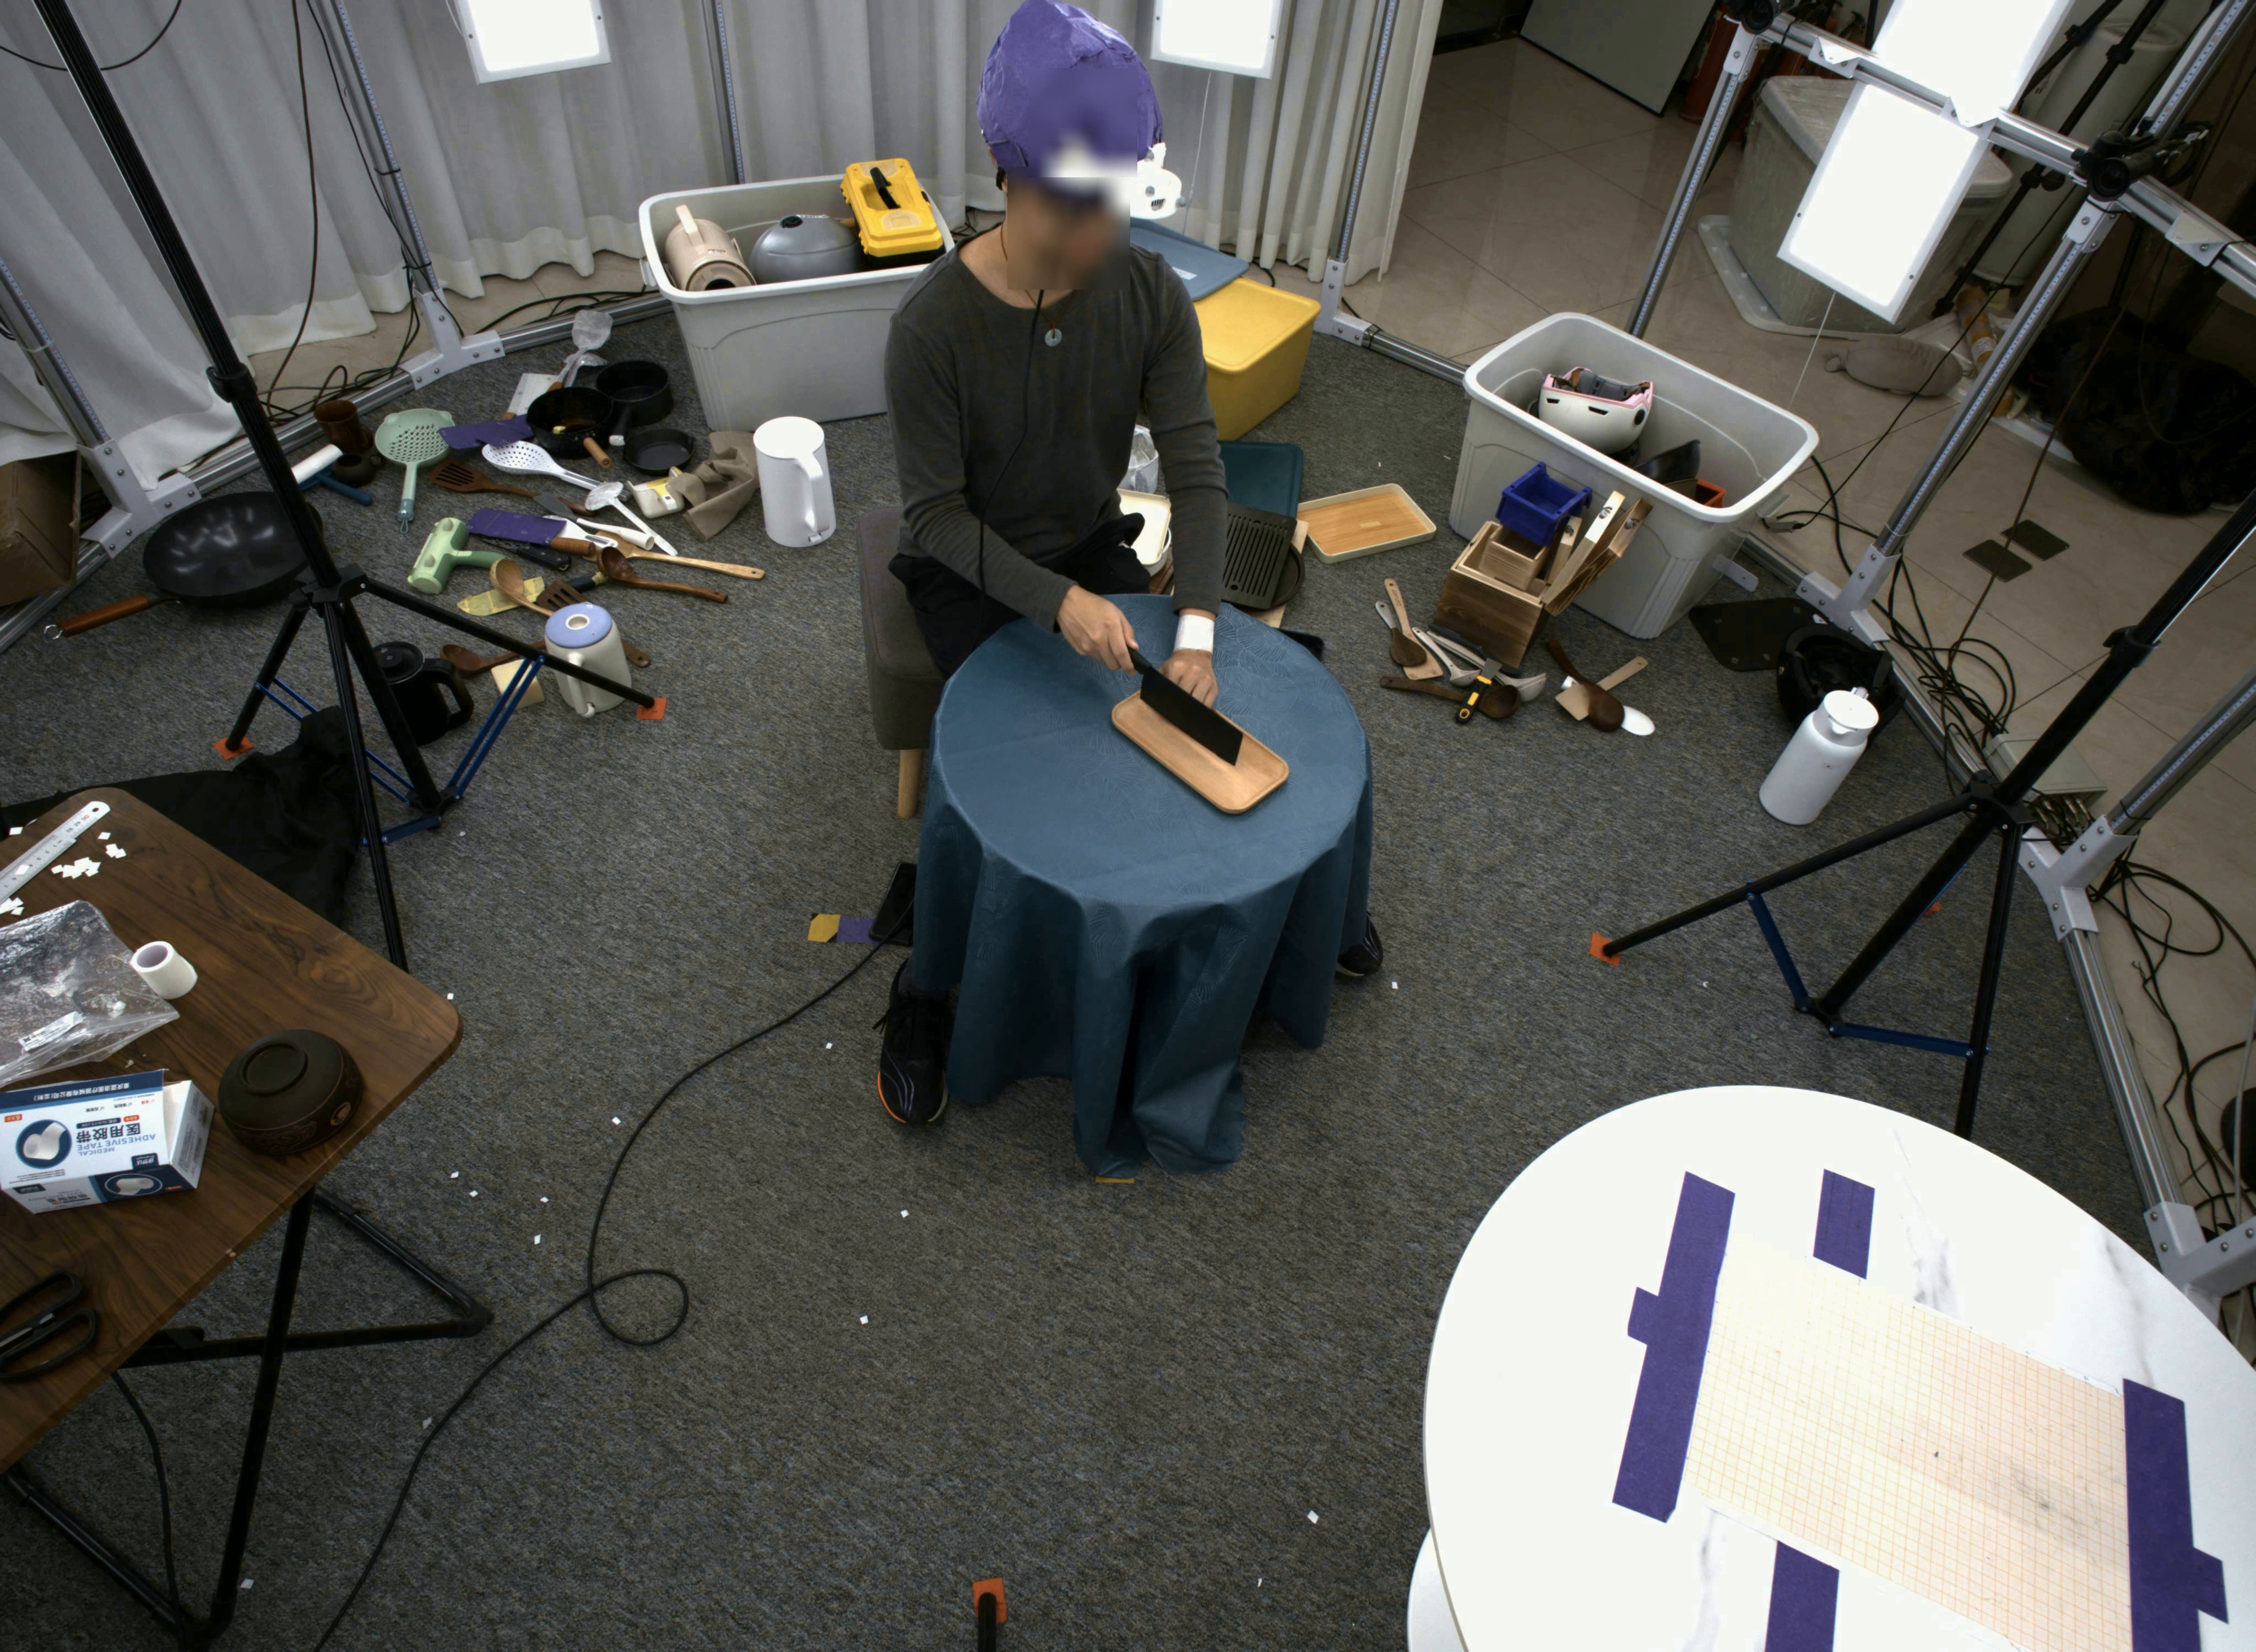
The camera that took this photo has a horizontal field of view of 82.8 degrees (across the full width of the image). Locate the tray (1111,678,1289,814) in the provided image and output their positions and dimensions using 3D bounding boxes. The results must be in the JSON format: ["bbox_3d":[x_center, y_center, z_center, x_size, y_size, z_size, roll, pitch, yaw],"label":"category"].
[{"bbox_3d":[0.097,-0.113,1.762,0.131,0.022,0.255,-32,57,-30],"label":"tray"}]

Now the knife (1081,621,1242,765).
[{"bbox_3d":[0.042,-0.188,1.758,0.021,0.079,0.307,-30,61,-34],"label":"knife"}]
